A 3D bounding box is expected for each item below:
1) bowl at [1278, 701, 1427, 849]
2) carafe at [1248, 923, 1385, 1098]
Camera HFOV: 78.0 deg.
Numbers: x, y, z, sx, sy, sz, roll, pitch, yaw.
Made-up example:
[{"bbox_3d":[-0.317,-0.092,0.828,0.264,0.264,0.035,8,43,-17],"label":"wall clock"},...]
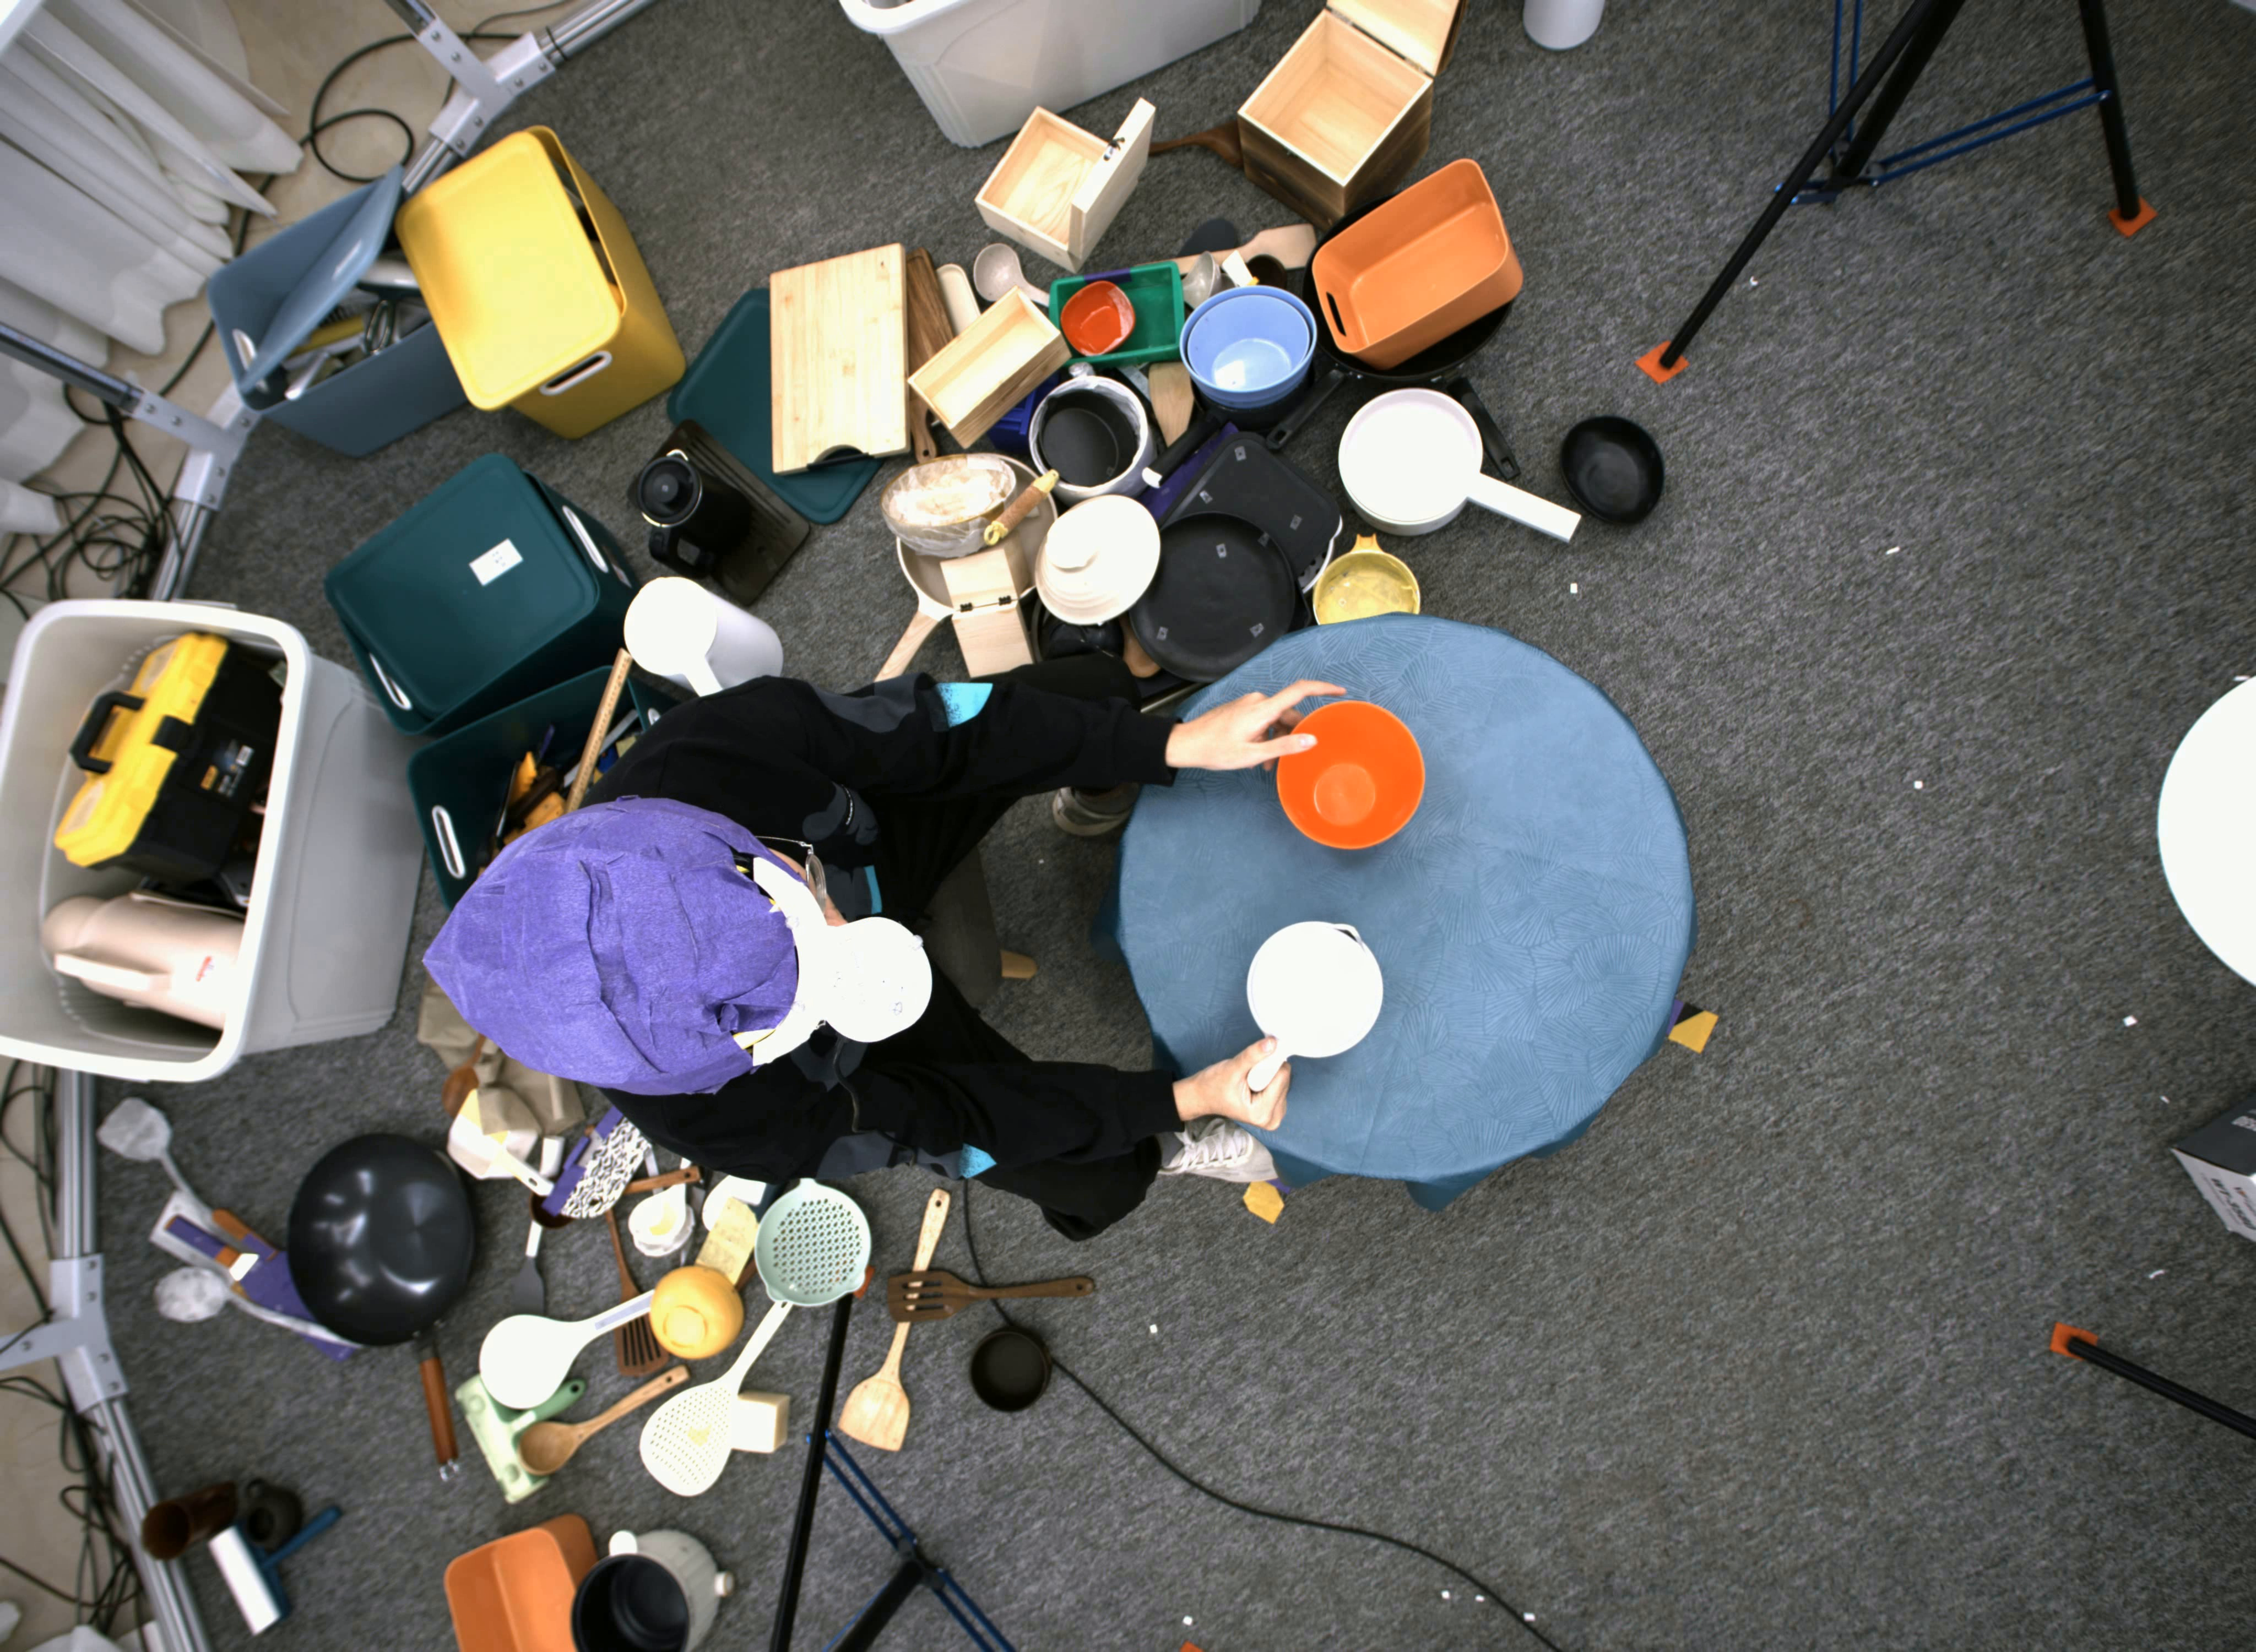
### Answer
[{"bbox_3d":[0.230,-0.047,1.418,0.148,0.105,0.147,-1,86,10],"label":"bowl"},{"bbox_3d":[0.176,0.184,1.379,0.132,0.182,0.191,30,92,12],"label":"carafe"}]
